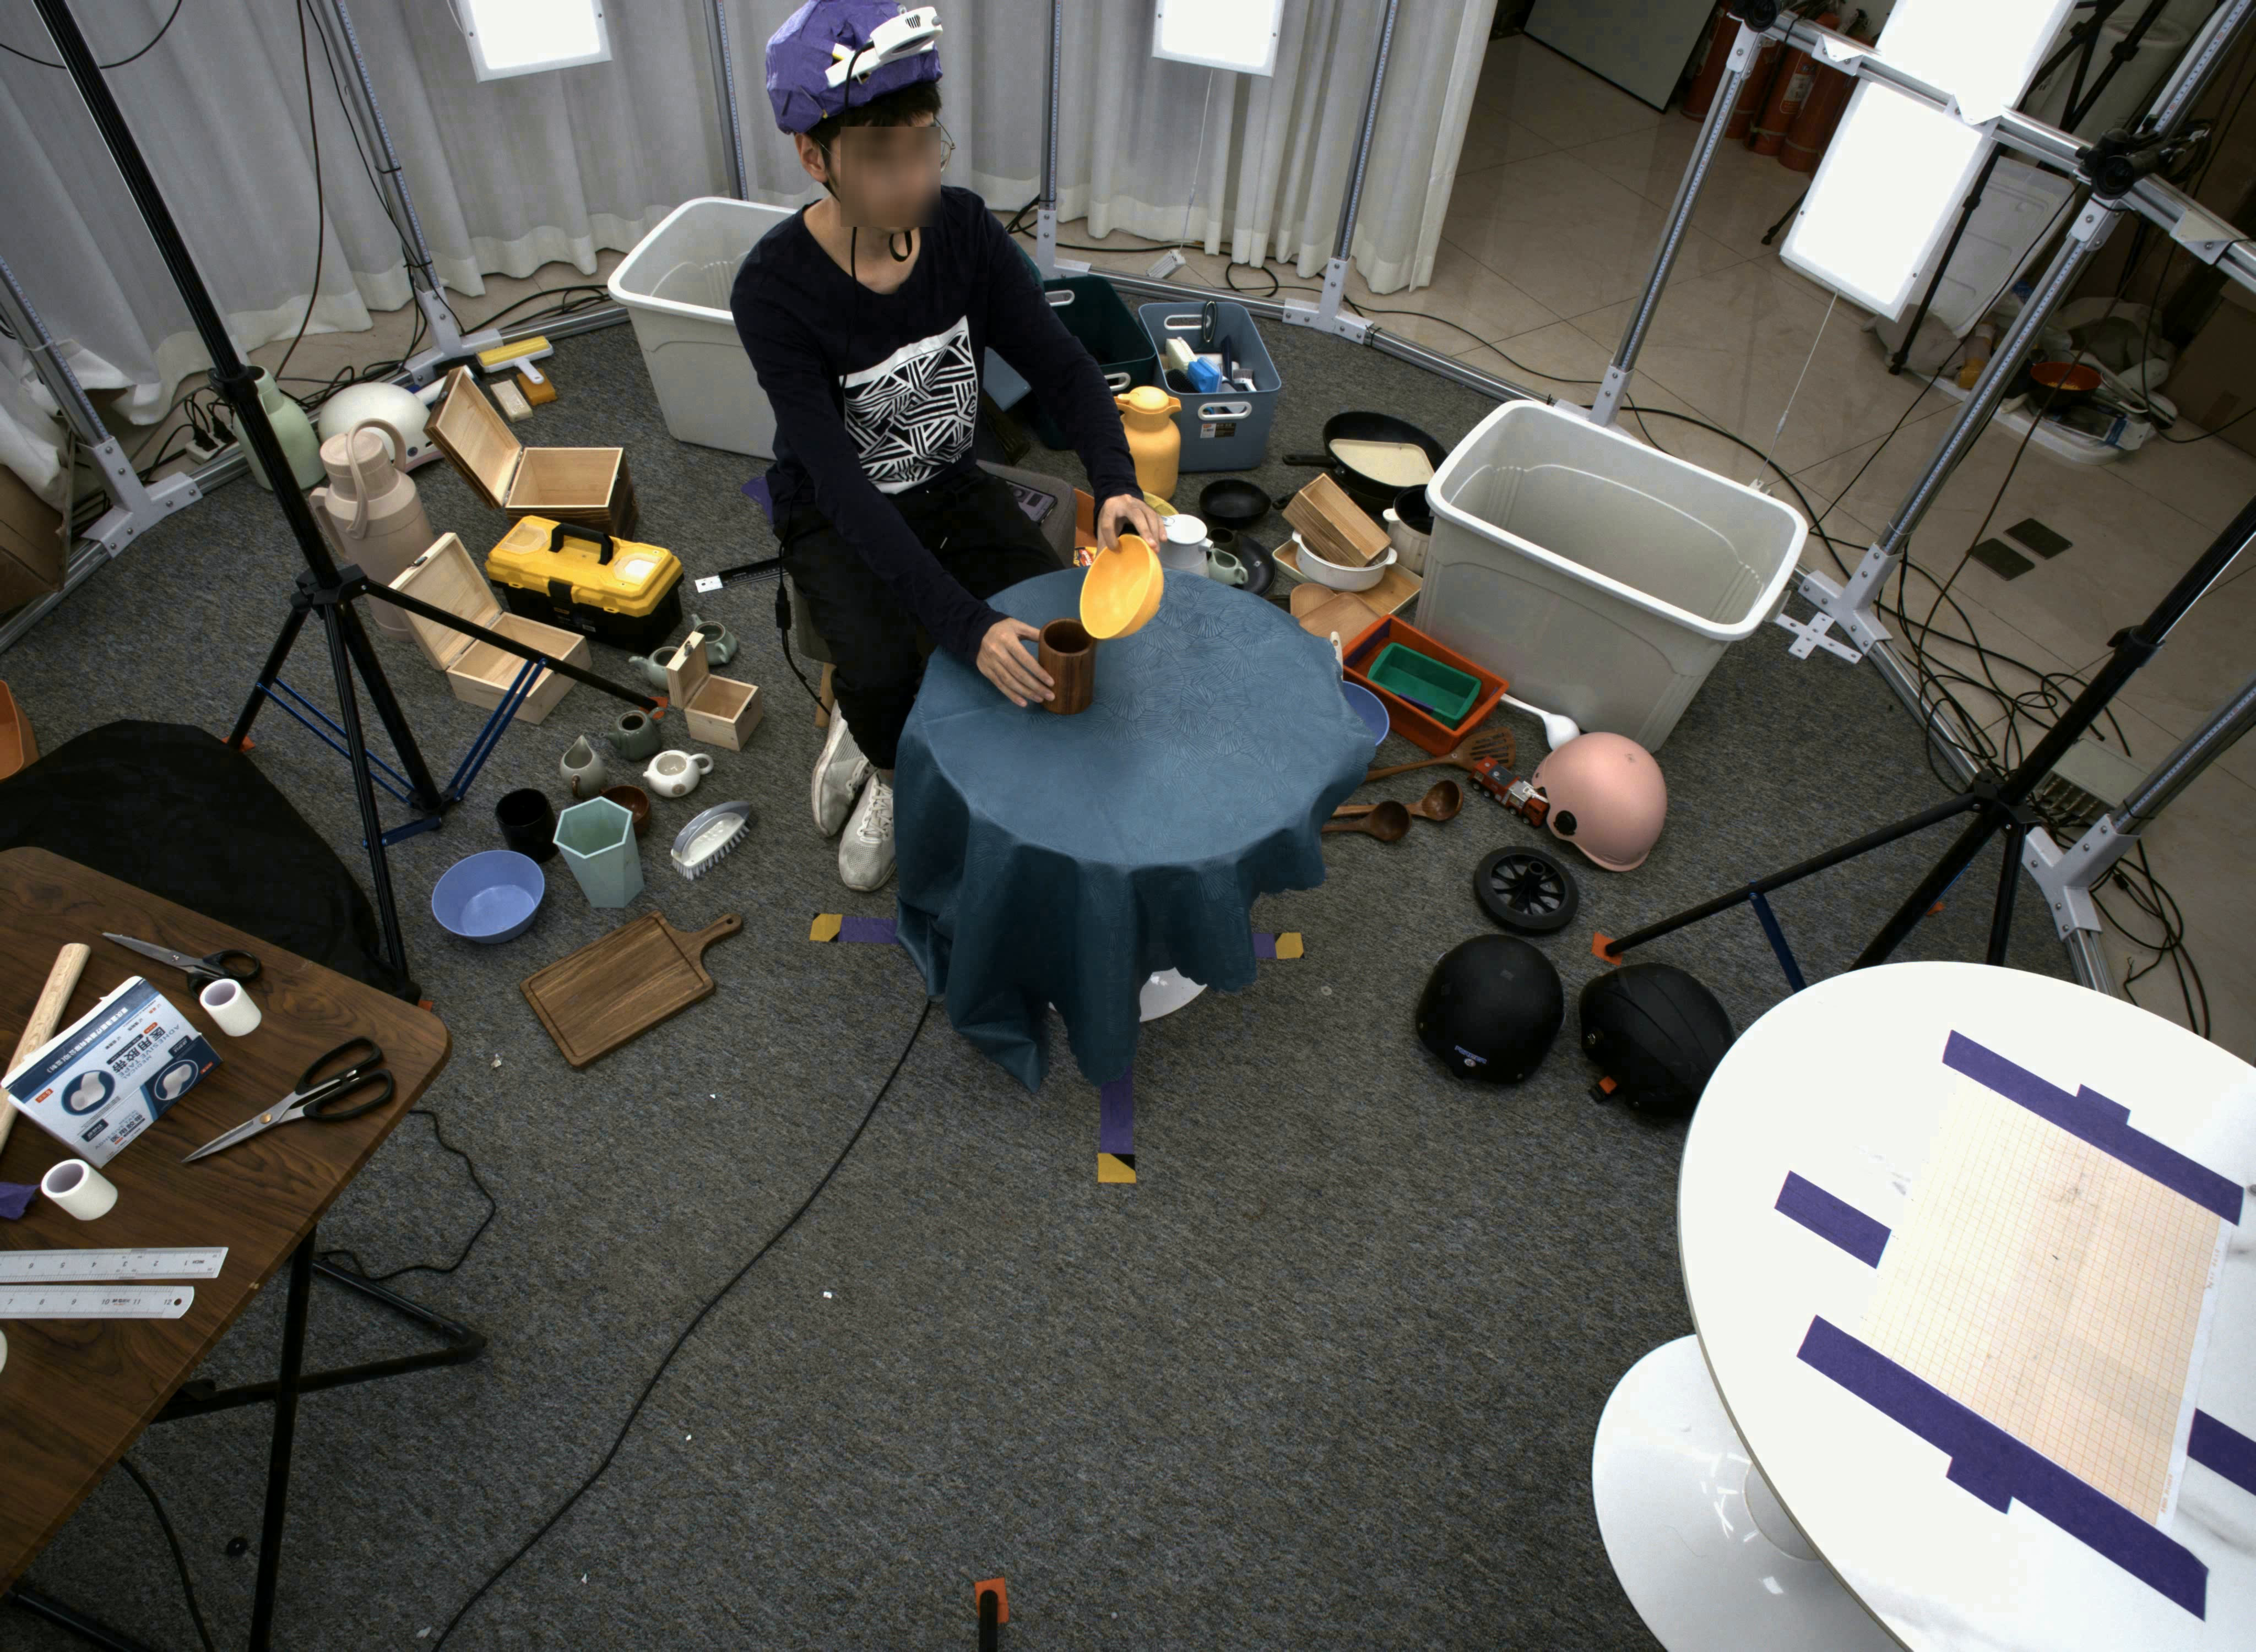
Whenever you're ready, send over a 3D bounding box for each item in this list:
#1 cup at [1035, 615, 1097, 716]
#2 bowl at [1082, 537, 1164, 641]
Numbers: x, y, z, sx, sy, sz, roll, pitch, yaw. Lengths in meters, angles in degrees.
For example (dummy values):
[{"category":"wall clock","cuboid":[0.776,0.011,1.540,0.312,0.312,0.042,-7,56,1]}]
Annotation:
[{"category":"cup","cuboid":[-0.087,-0.222,1.778,0.087,0.115,0.090,4,47,-4]},{"category":"bowl","cuboid":[0.005,-0.311,1.732,0.059,0.143,0.149,19,39,-36]}]
